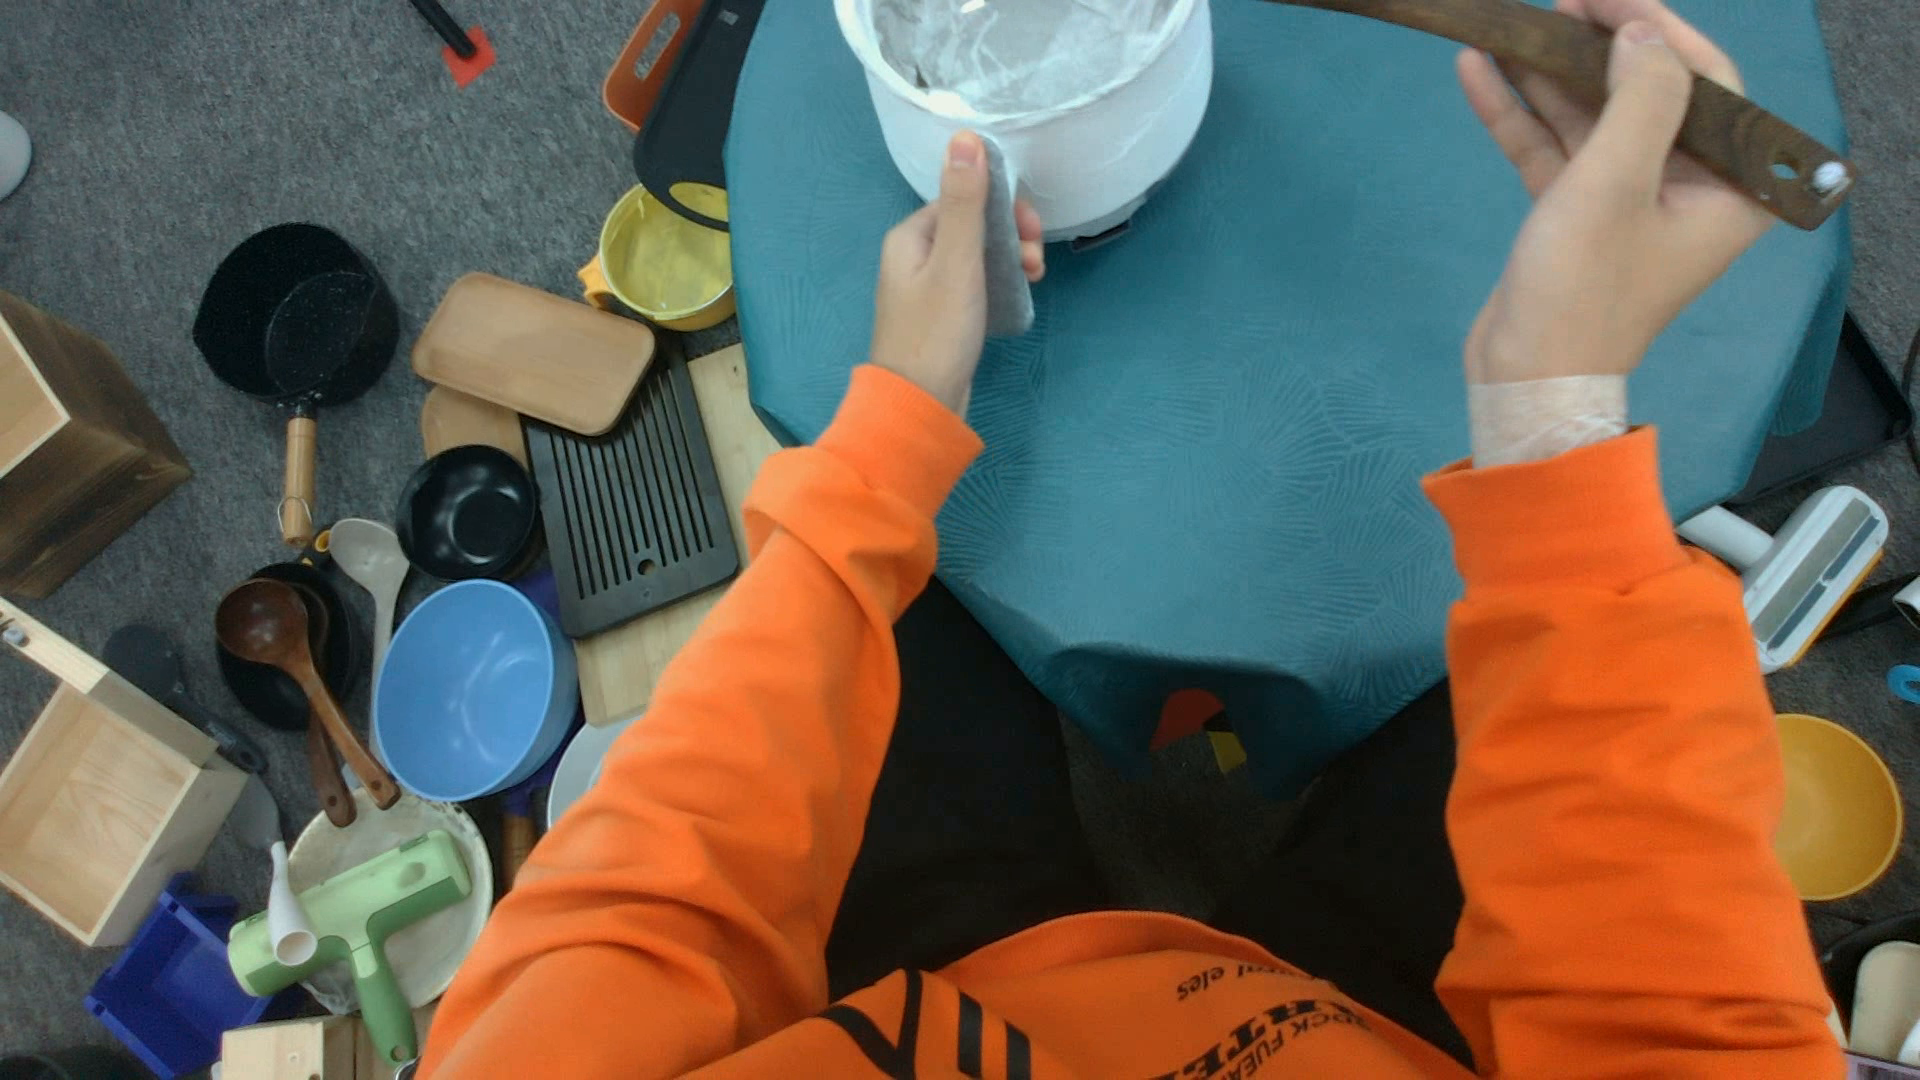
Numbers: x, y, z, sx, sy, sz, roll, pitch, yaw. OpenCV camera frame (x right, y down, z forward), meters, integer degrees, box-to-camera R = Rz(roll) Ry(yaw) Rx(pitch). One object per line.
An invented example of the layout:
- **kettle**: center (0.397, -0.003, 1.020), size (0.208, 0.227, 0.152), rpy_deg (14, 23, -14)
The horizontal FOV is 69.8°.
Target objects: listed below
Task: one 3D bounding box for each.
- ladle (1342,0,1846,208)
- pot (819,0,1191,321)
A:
- **ladle**: center (0.176, -0.199, 0.486), size (0.076, 0.071, 0.274), rpy_deg (-49, 53, 4)
- **pot**: center (0.024, -0.234, 0.690), size (0.178, 0.136, 0.234), rpy_deg (5, 74, 12)
